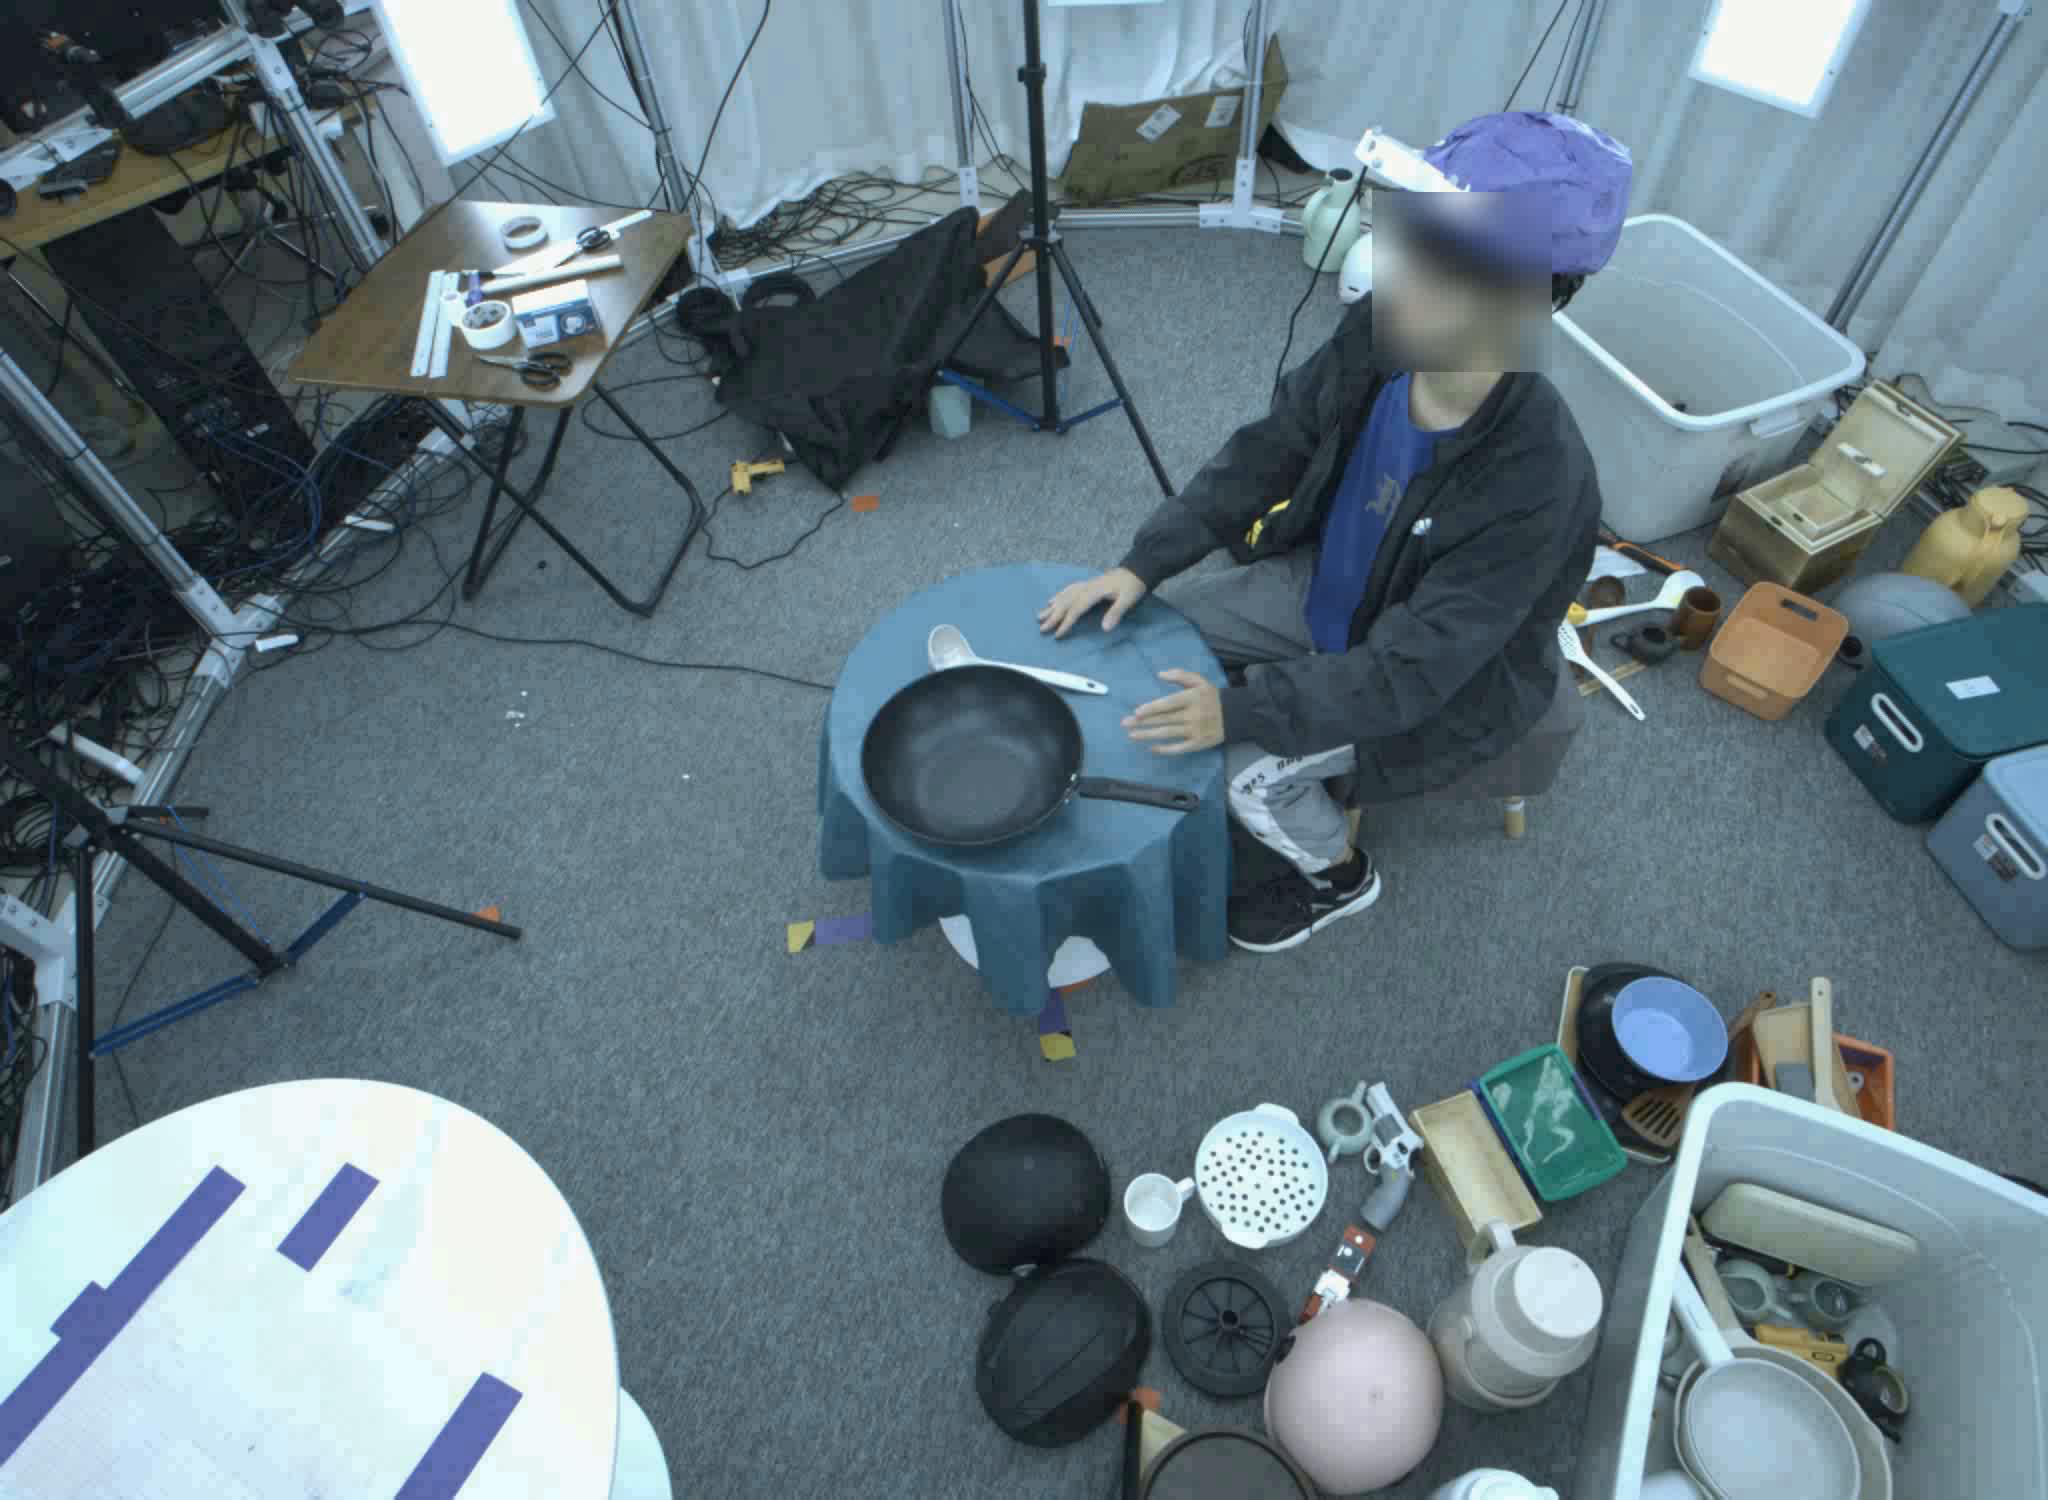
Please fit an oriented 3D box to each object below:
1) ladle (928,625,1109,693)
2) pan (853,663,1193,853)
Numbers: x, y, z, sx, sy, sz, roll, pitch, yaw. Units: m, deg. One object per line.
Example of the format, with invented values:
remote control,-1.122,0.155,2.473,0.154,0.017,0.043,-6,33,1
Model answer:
ladle,-0.008,-0.131,1.830,0.273,0.070,0.089,8,48,7
pan,0.000,0.040,1.684,0.472,0.113,0.310,16,58,14
